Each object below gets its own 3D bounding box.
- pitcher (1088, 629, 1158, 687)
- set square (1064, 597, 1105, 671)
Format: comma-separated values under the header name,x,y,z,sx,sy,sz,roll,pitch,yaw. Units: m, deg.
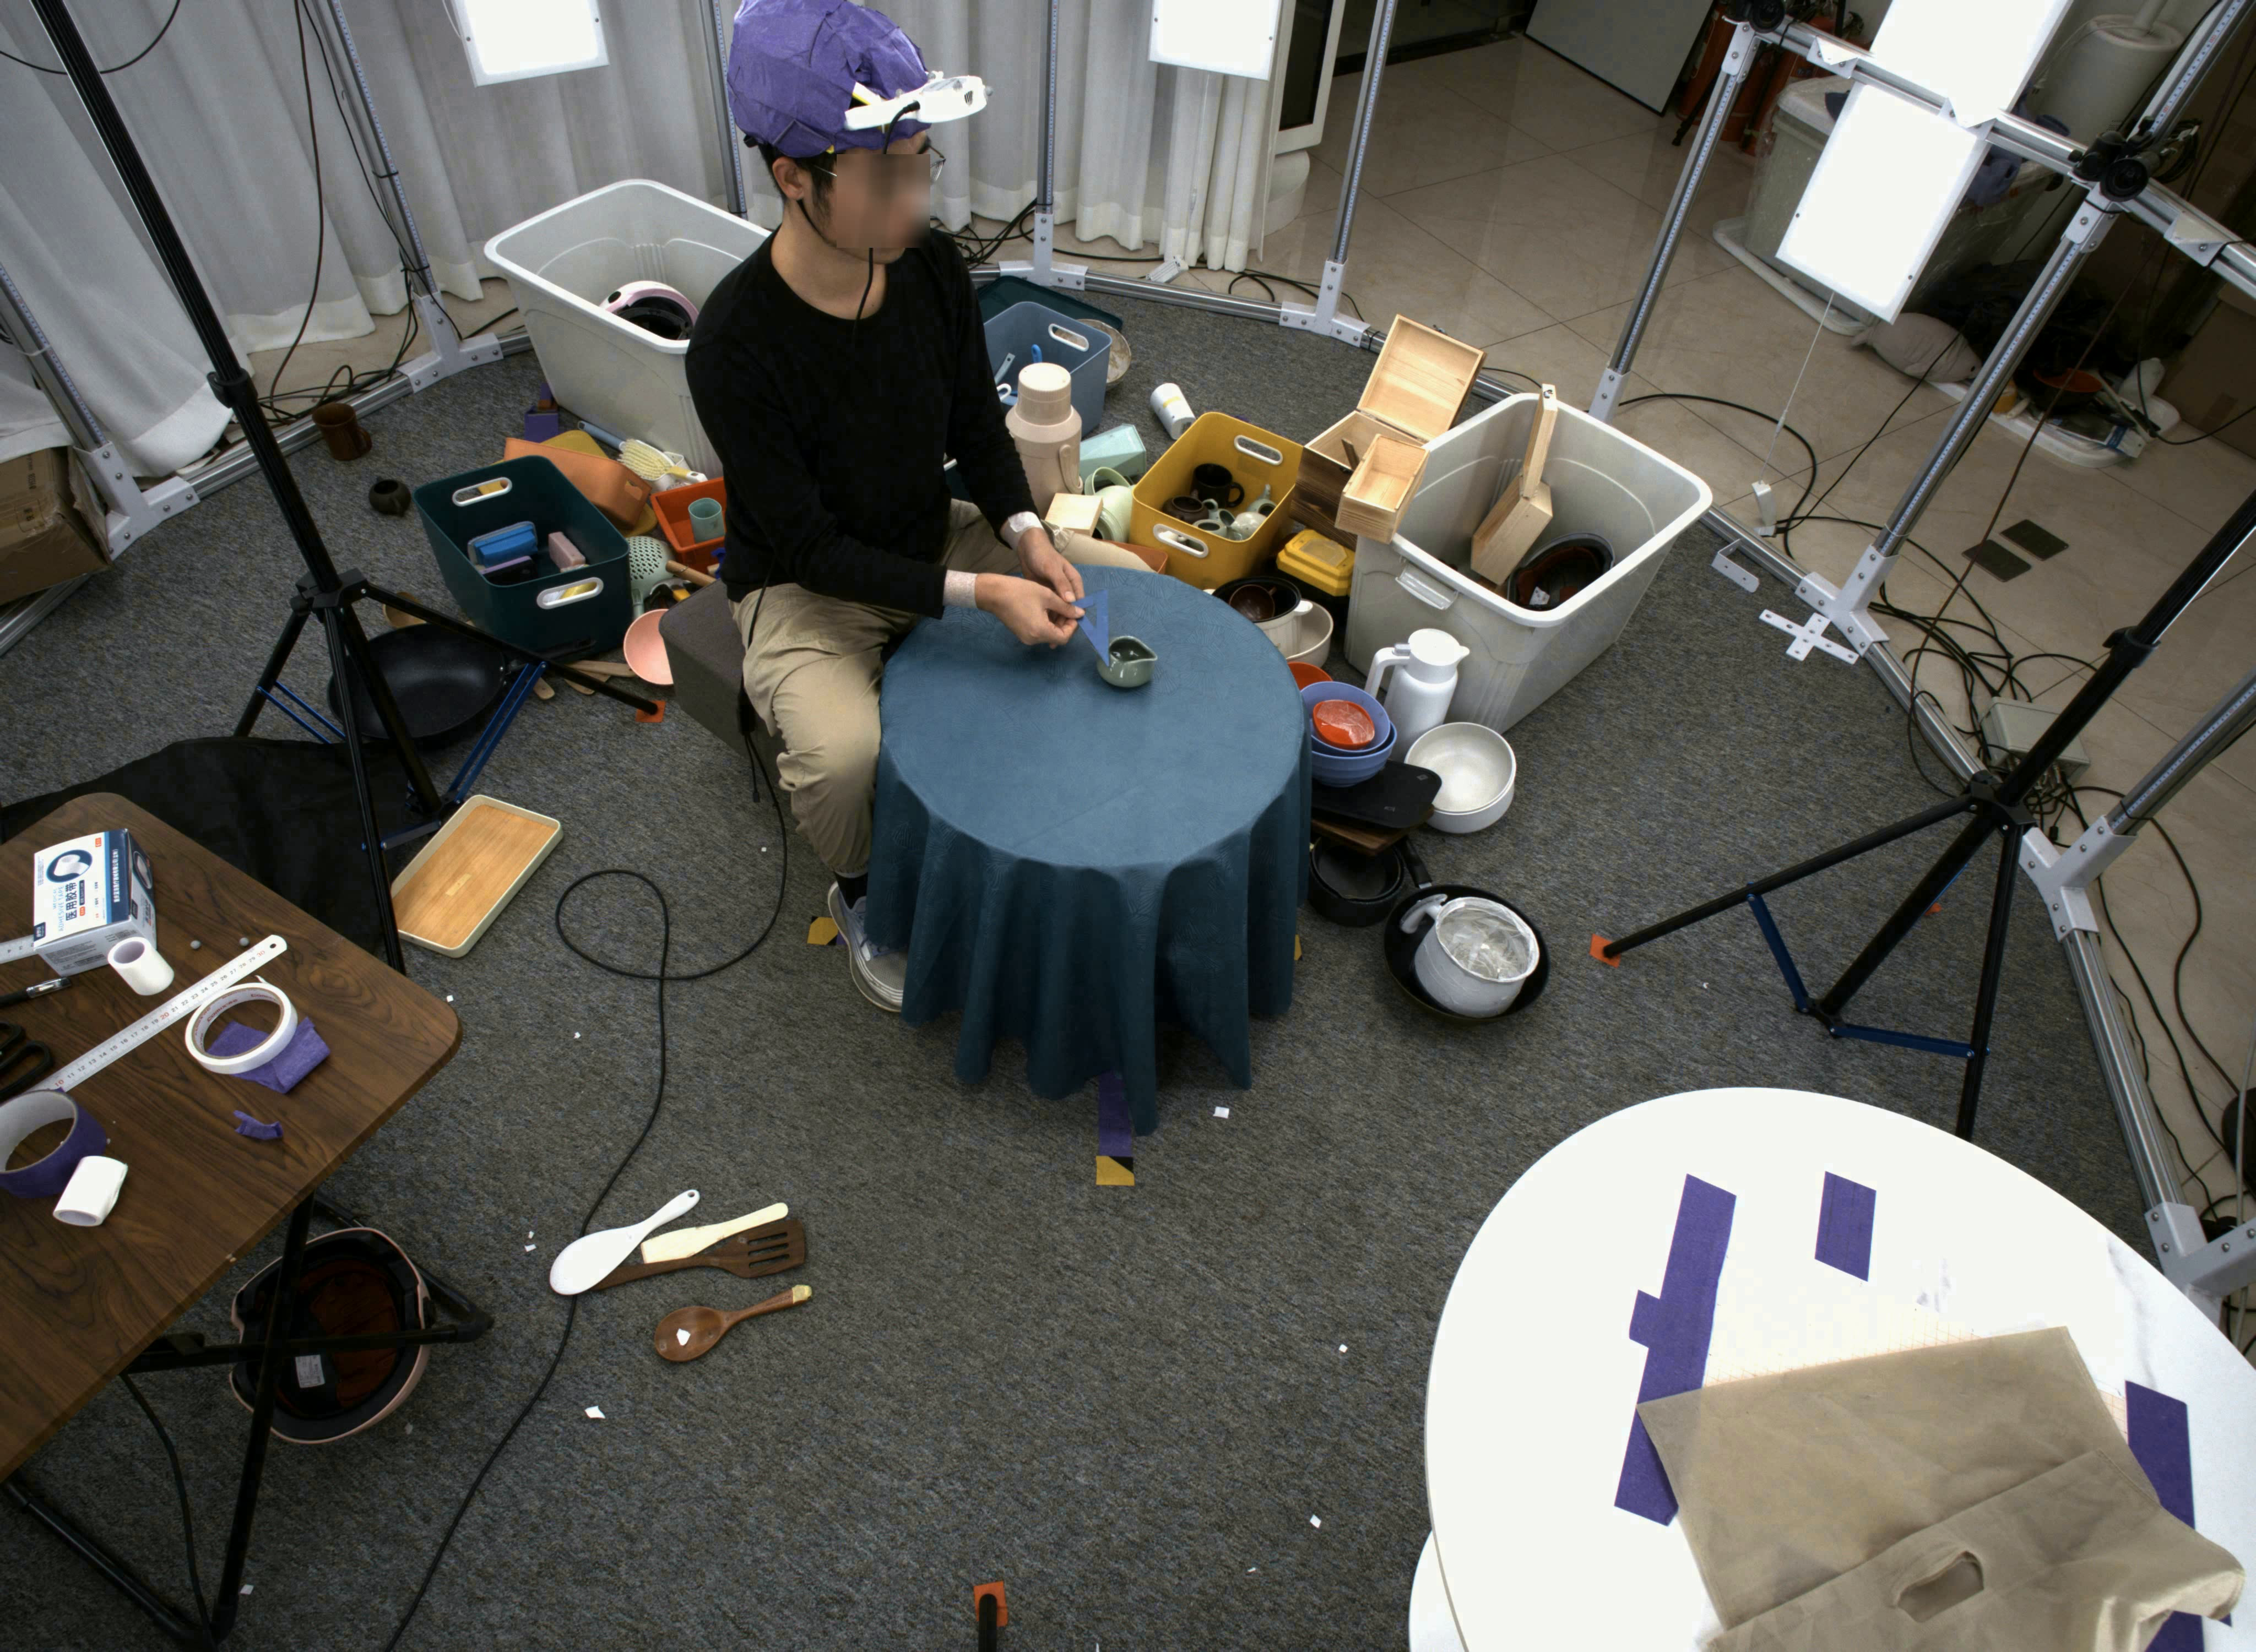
name,x,y,z,sx,sy,sz,roll,pitch,yaw
pitcher,-0.009,-0.243,1.843,0.113,0.055,0.085,26,50,17
set square,-0.063,-0.279,1.831,0.061,0.006,0.135,8,59,-9
